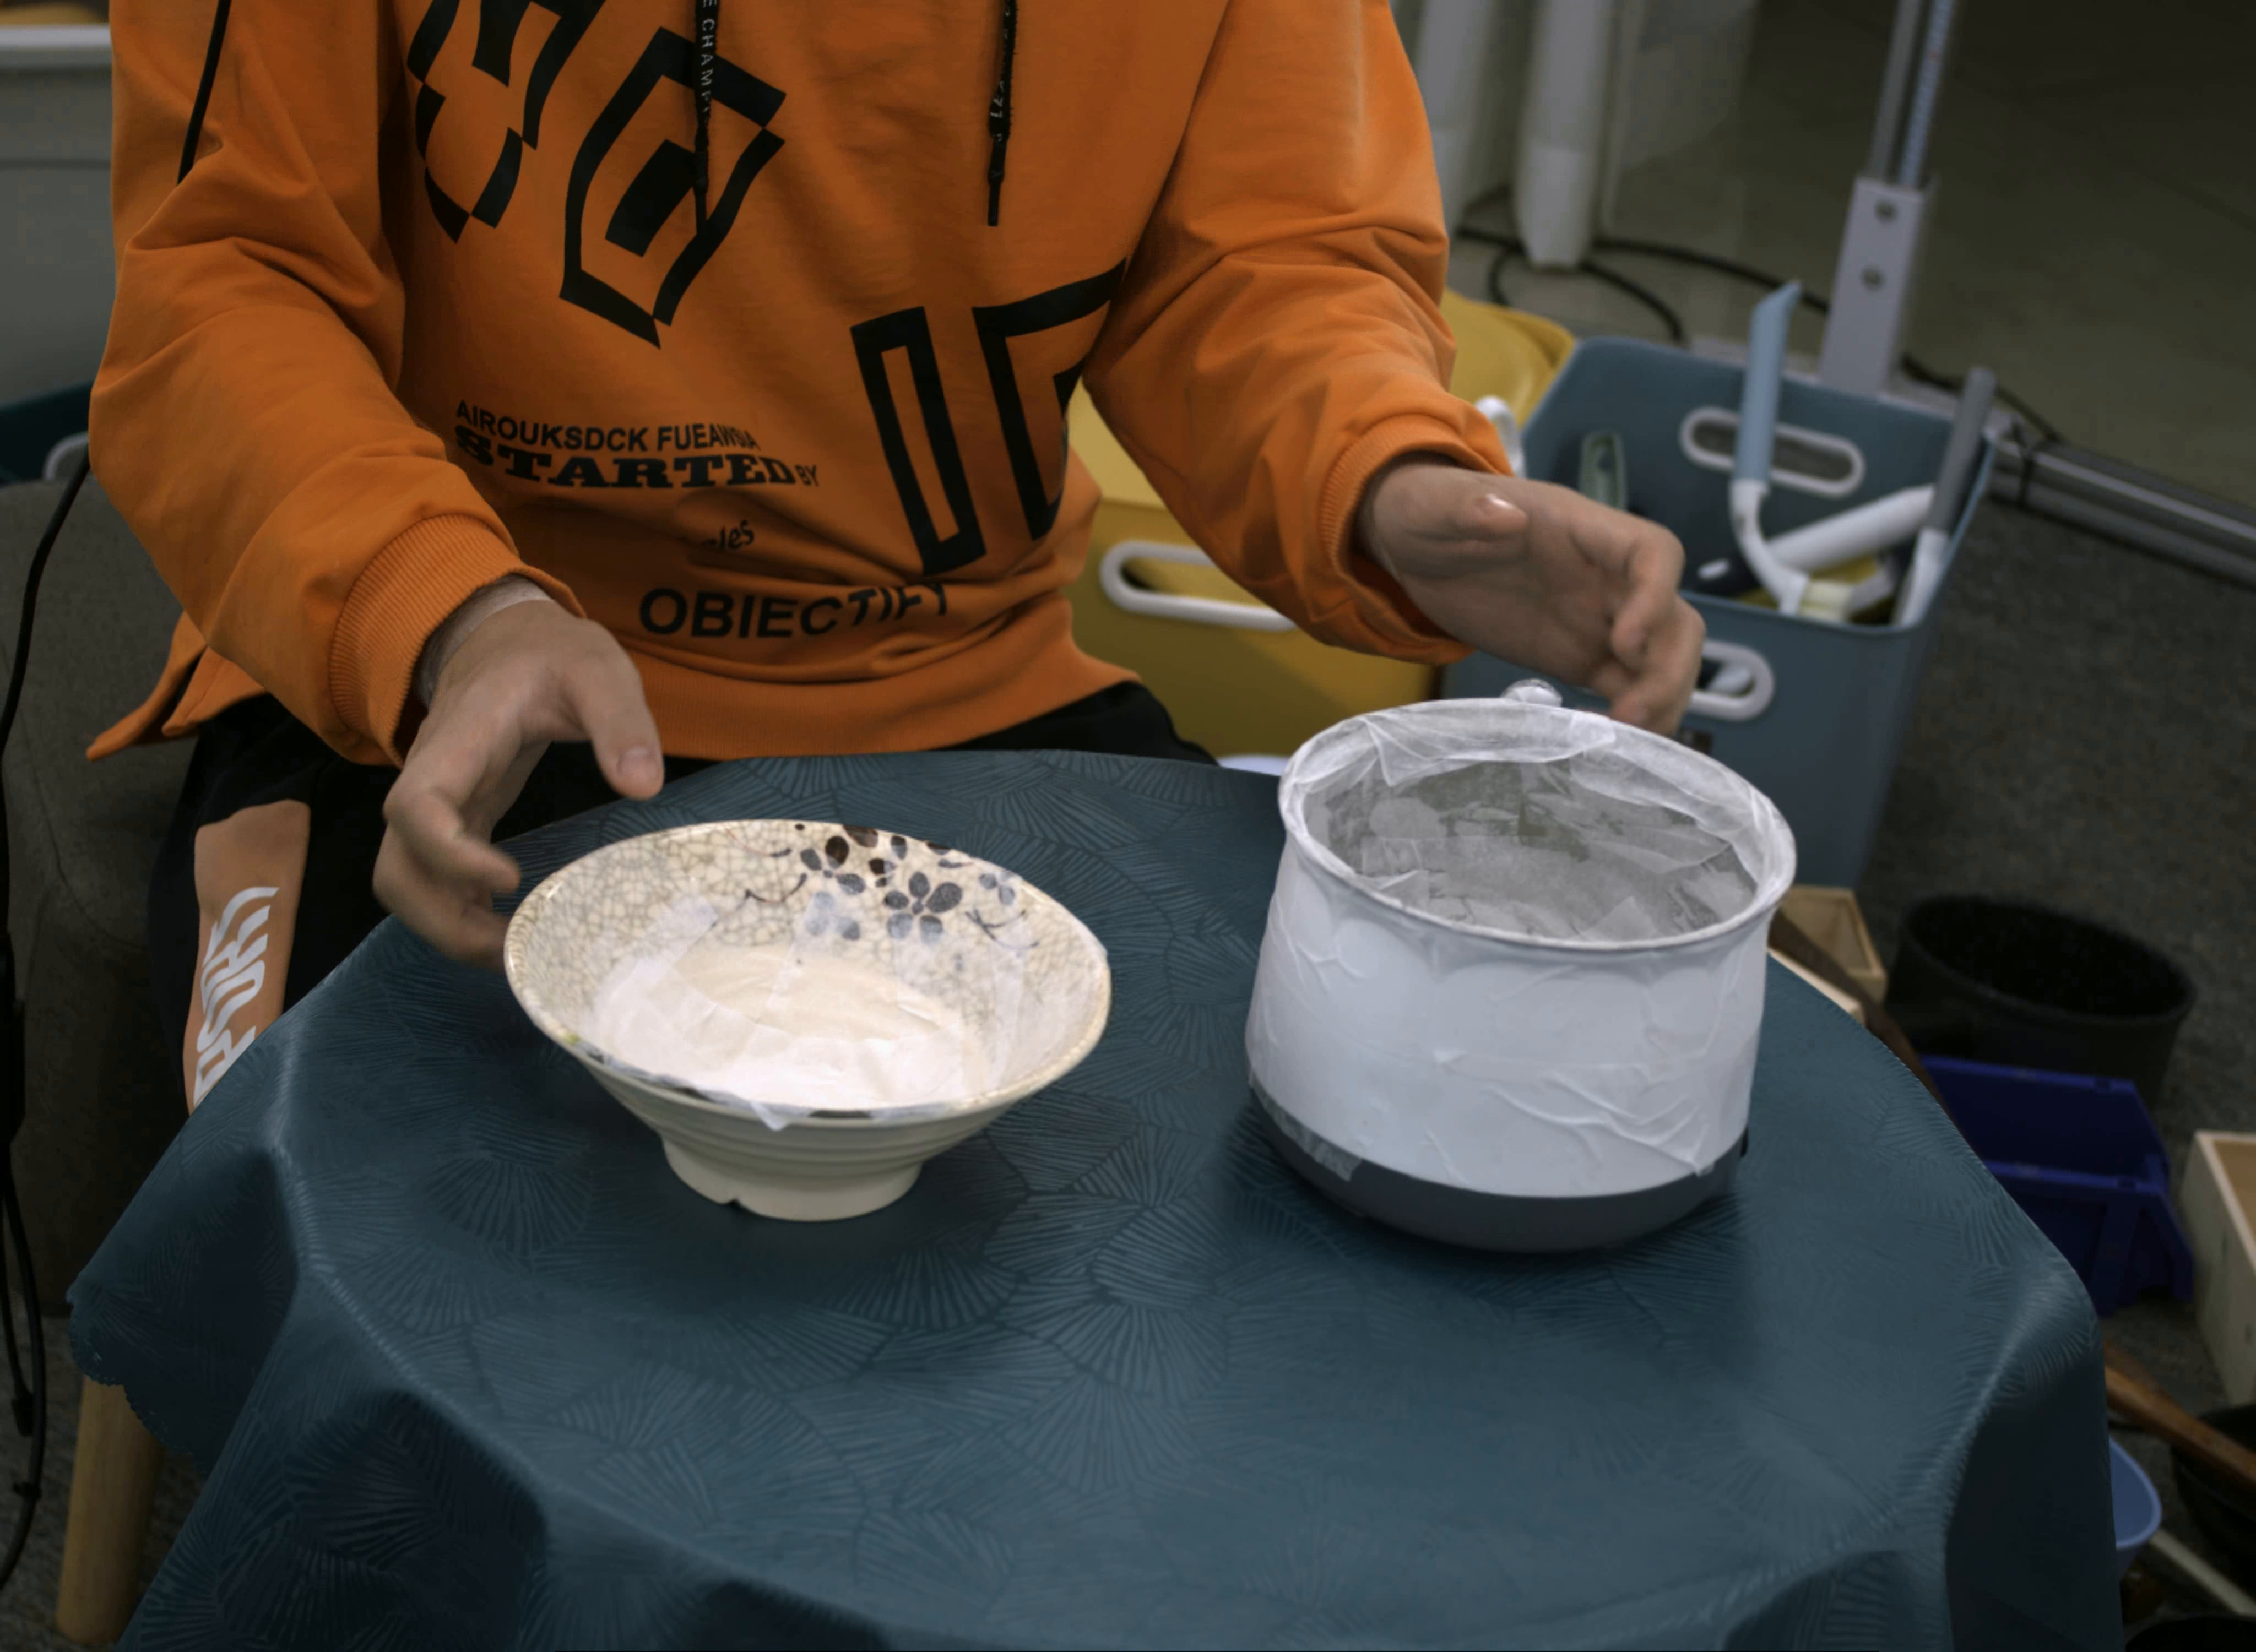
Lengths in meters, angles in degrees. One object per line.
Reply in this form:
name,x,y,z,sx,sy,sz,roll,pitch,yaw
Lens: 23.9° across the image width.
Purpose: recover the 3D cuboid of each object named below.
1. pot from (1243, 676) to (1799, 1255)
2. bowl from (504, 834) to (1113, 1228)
pot,0.132,0.040,1.844,0.178,0.136,0.235,7,27,-1
bowl,-0.109,0.080,1.783,0.203,0.078,0.205,4,25,-2
